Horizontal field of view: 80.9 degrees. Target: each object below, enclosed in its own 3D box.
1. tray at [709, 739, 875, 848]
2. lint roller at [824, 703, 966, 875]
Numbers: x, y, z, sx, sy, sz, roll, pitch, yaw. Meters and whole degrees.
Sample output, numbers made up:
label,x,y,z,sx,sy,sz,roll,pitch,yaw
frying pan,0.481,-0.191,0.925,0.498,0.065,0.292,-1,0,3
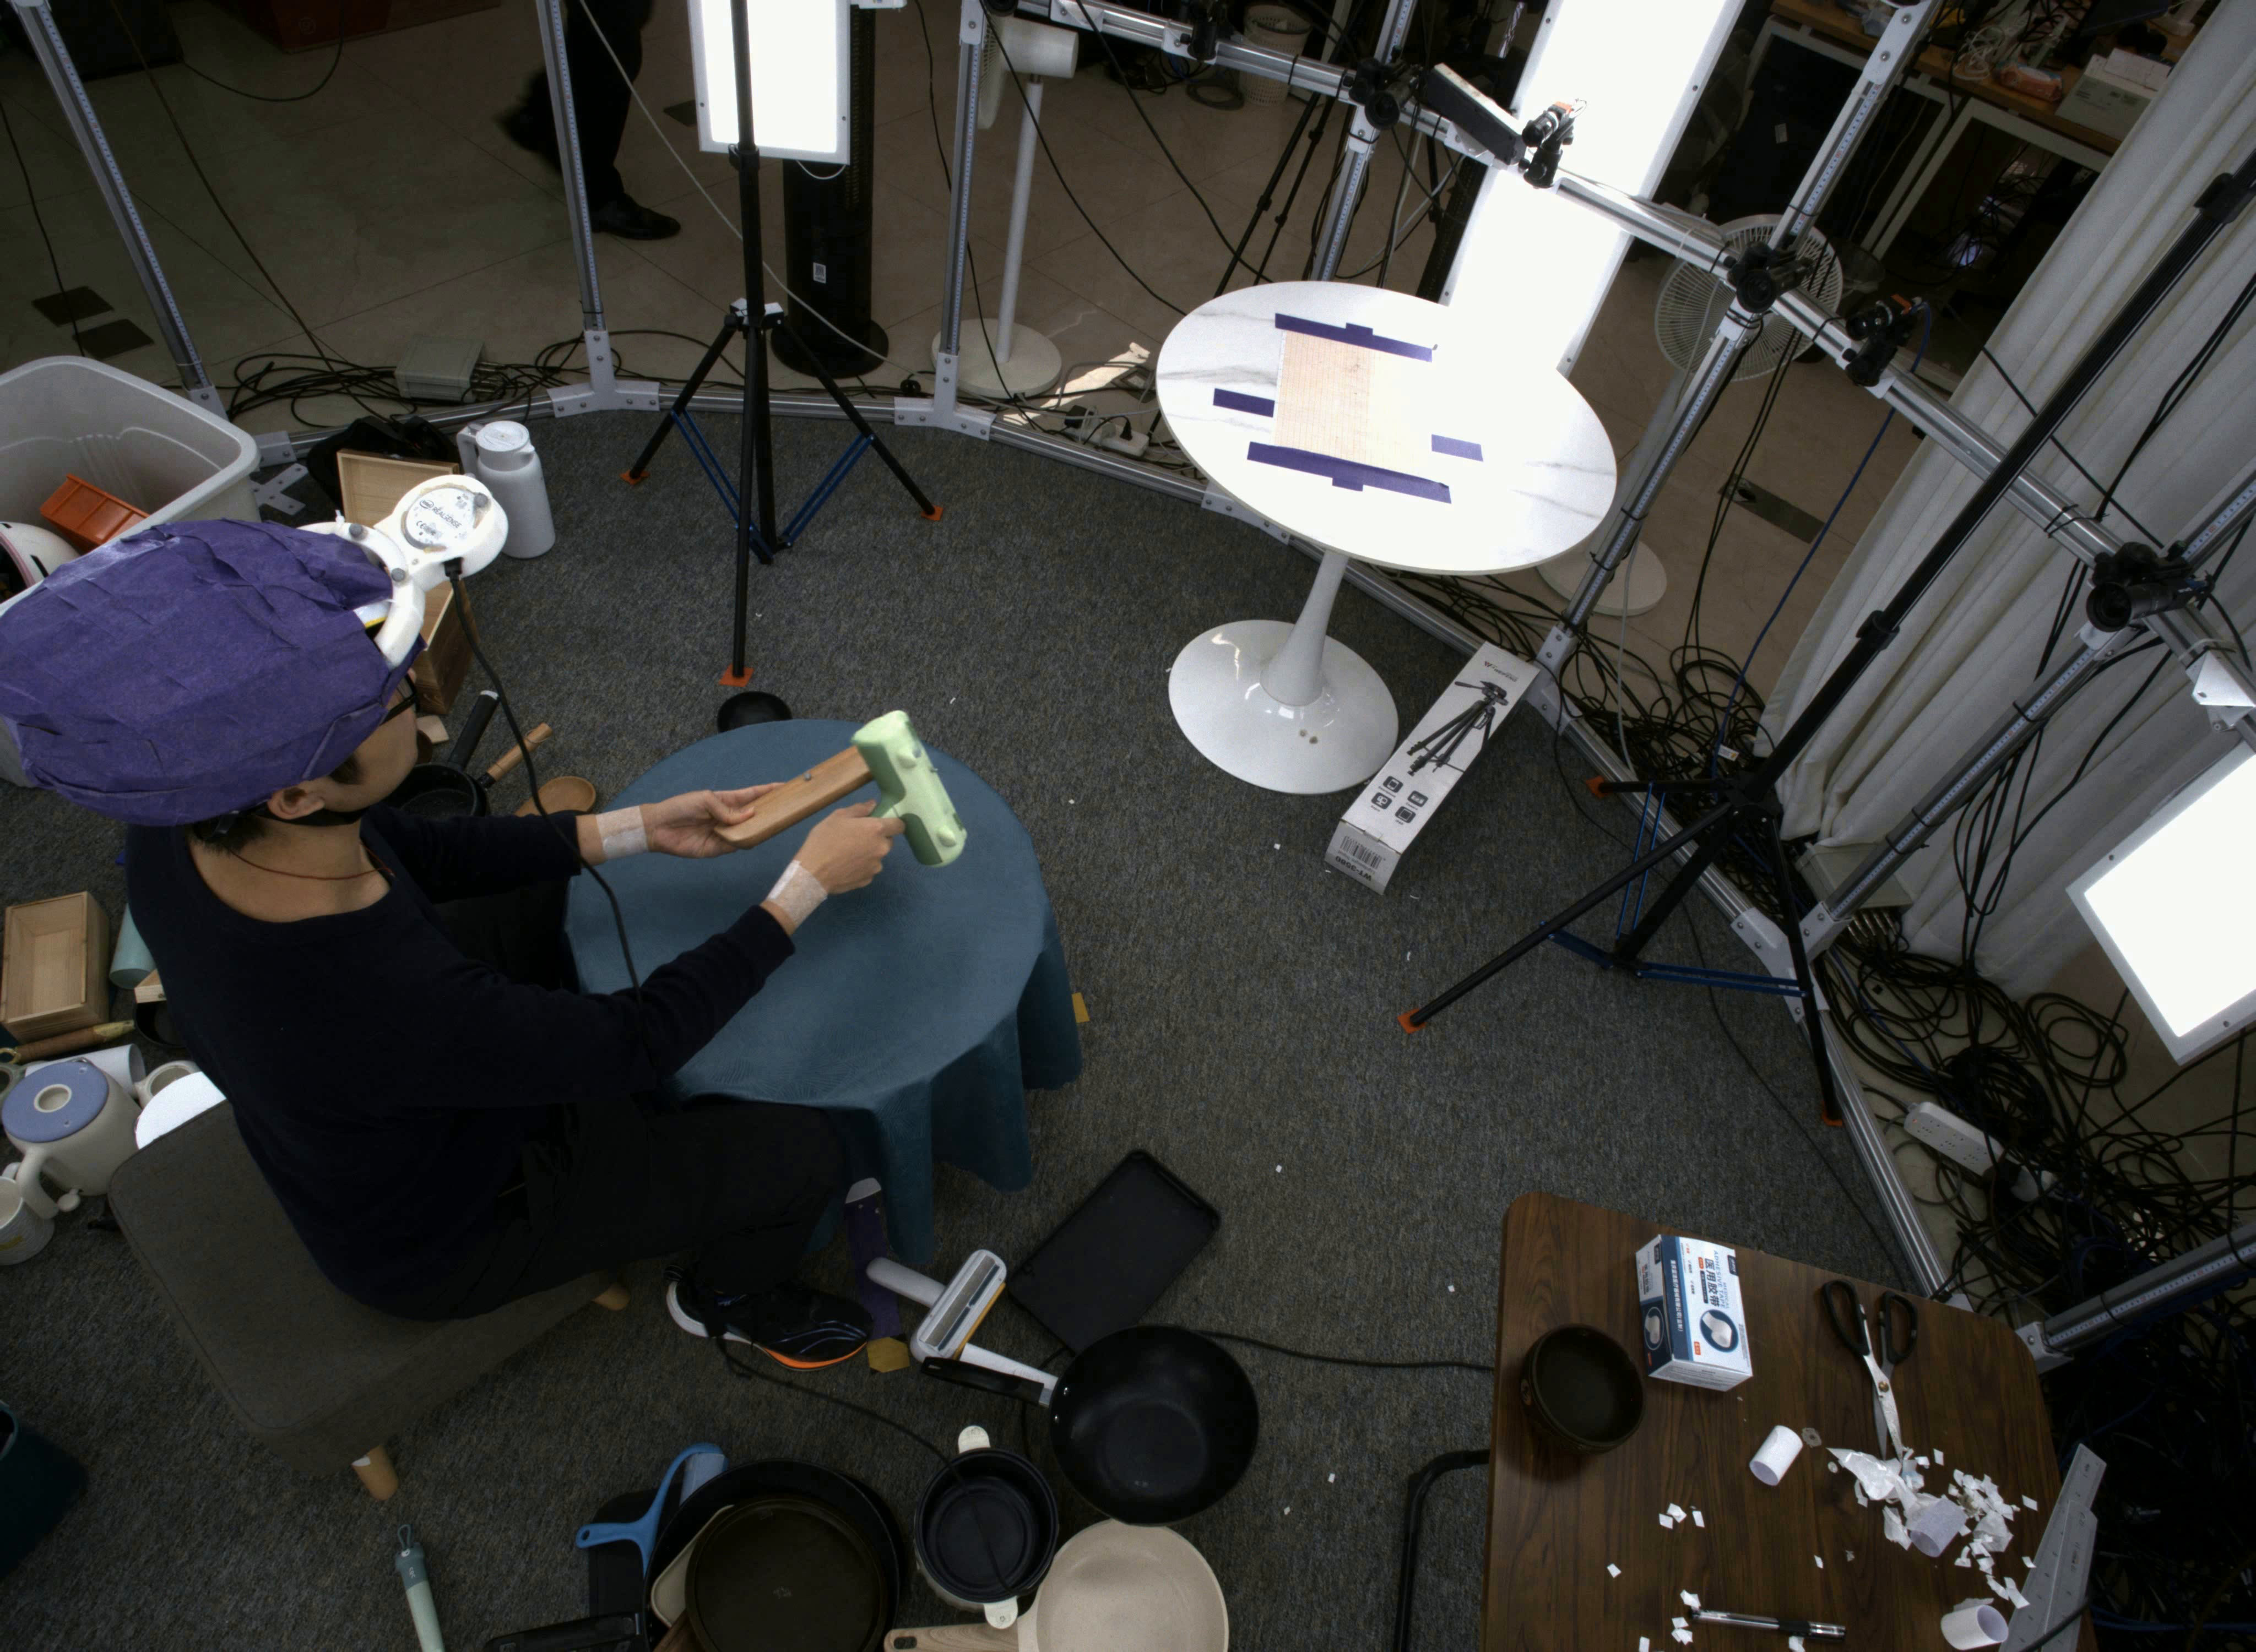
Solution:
label,x,y,z,sx,sy,sz,roll,pitch,yaw
tray,-0.373,-0.047,1.535,0.251,0.023,0.126,-33,23,-24
lint roller,-0.269,-0.009,1.476,0.079,0.206,0.182,1,41,31
